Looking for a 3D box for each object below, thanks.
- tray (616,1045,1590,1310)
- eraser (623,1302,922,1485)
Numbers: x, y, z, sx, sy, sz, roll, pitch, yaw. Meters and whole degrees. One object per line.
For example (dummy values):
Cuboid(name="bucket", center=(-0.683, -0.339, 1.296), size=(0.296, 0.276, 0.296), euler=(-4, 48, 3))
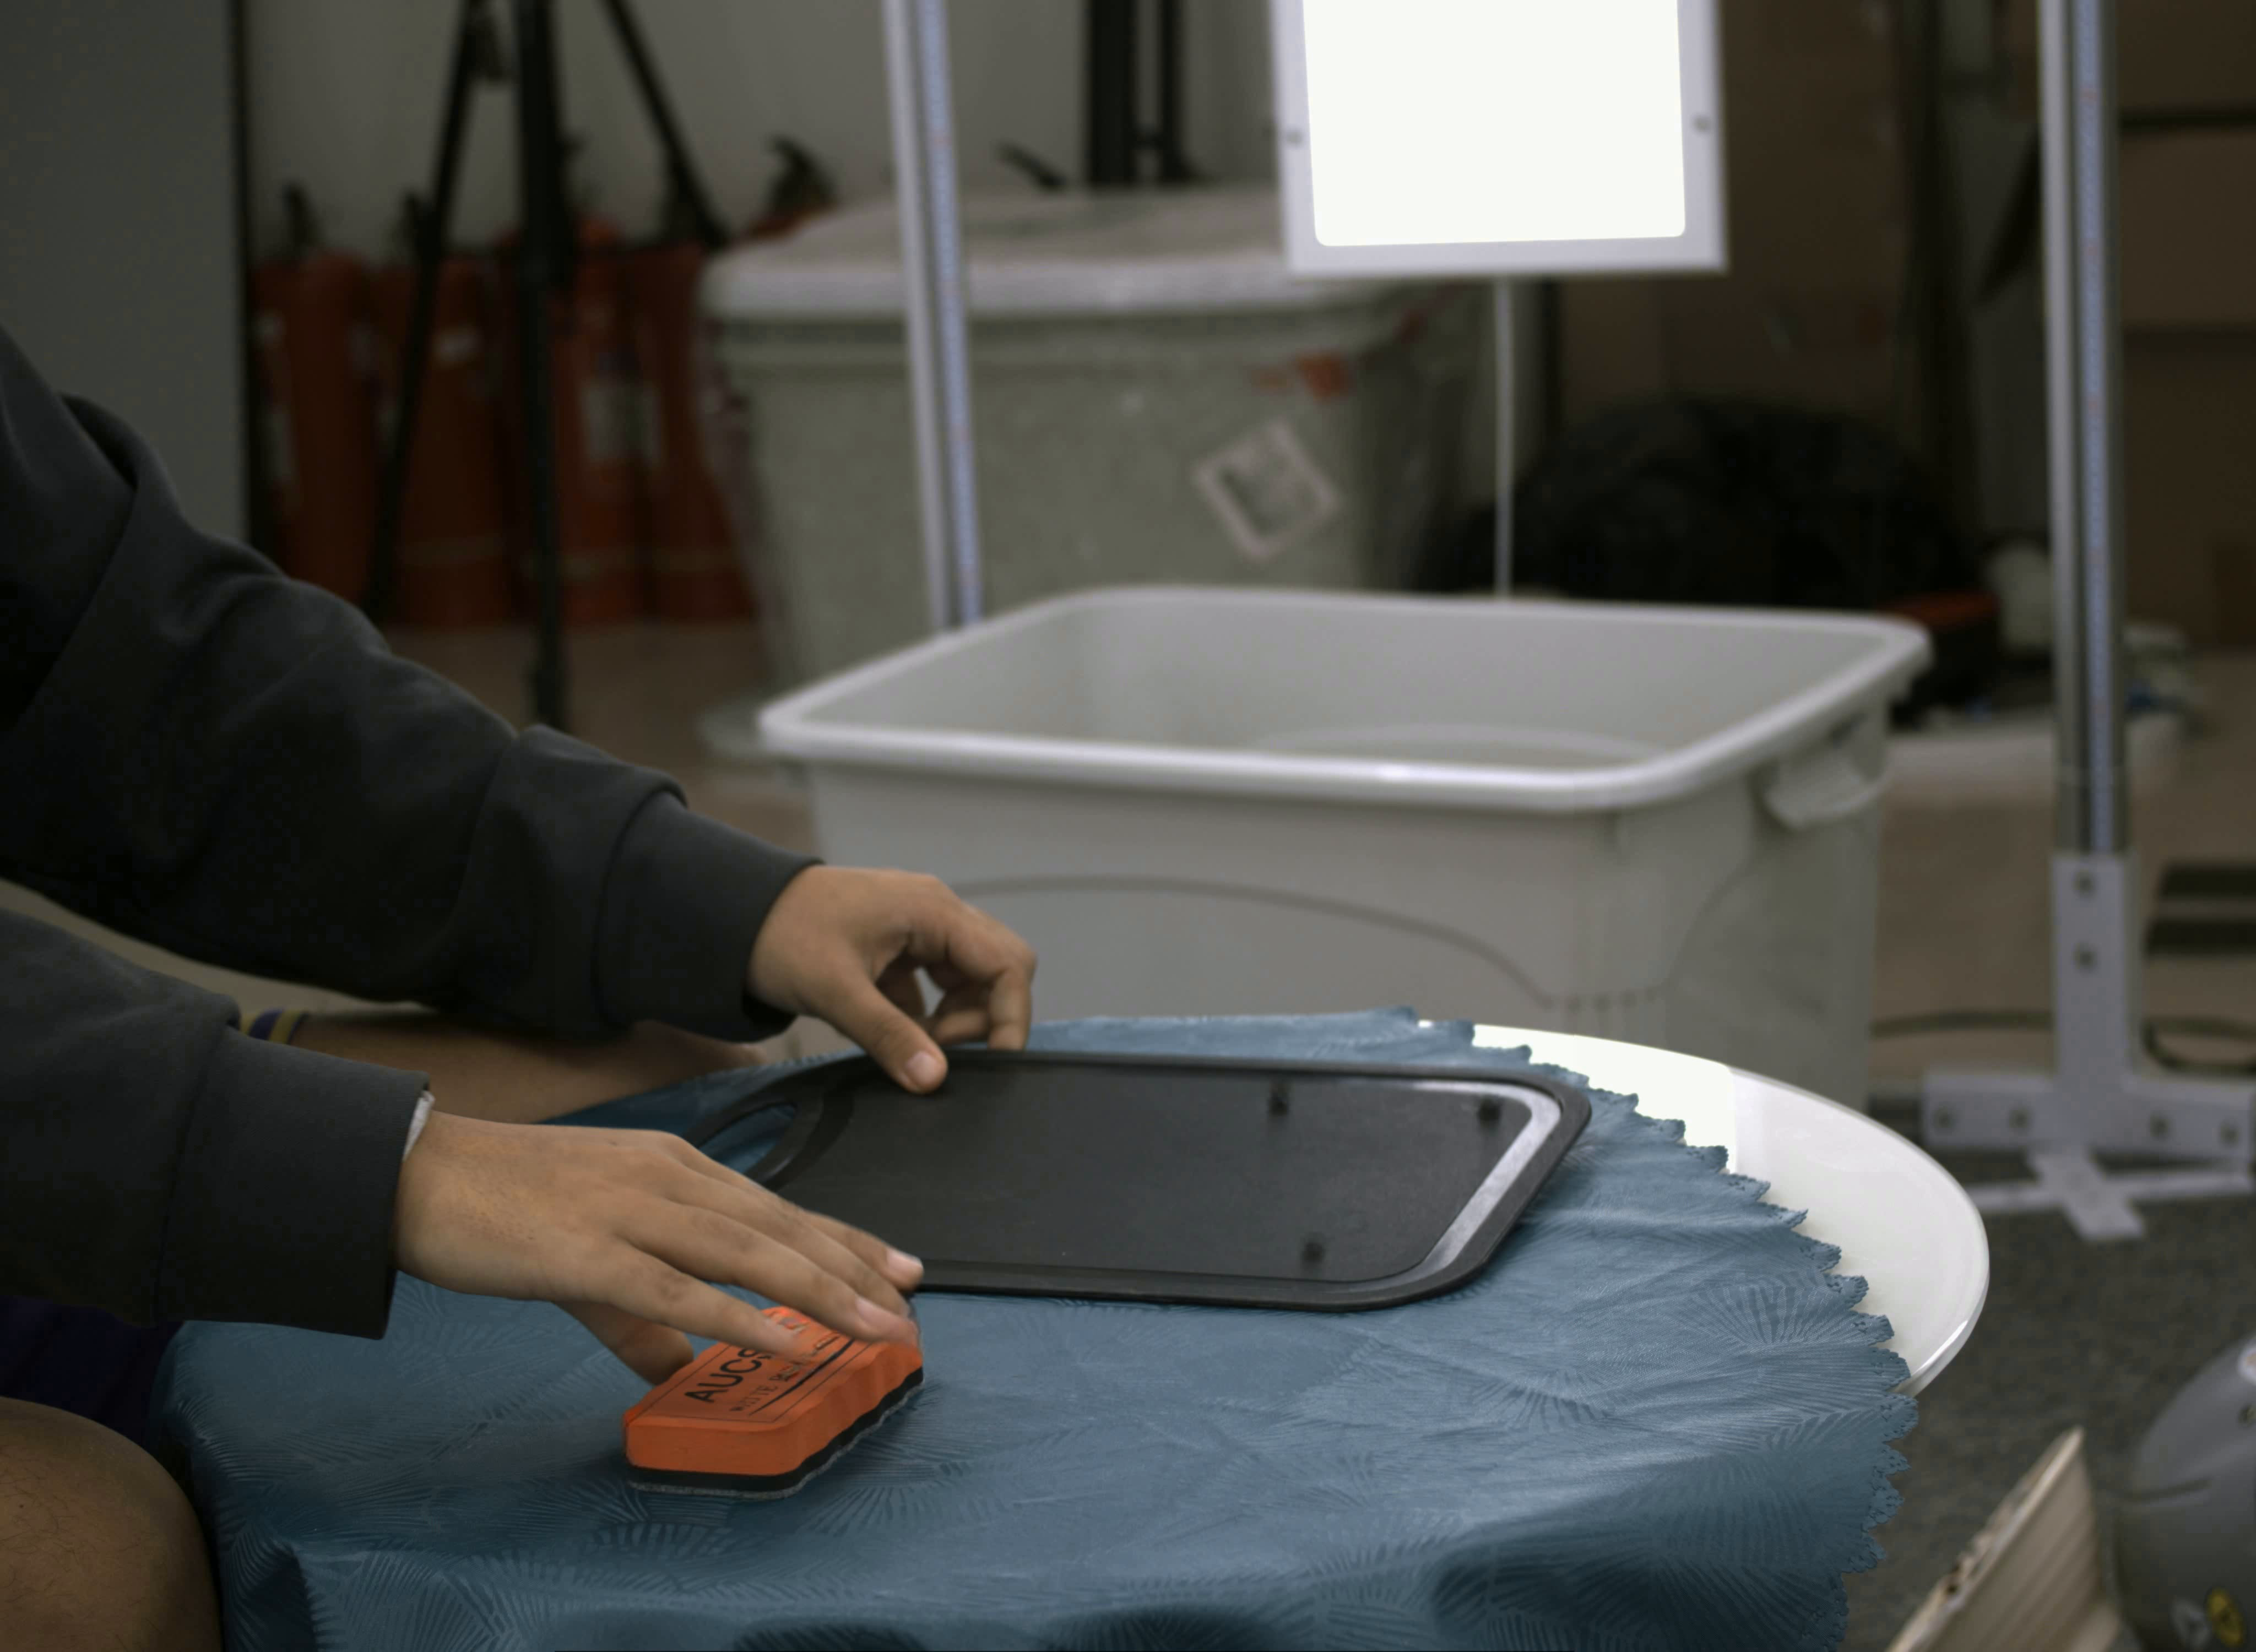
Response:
Cuboid(name="tray", center=(-0.015, 0.116, 1.893), size=(0.330, 0.010, 0.207), euler=(1, 20, 23))
Cuboid(name="eraser", center=(-0.108, 0.173, 1.687), size=(0.060, 0.023, 0.106), euler=(1, 13, 23))
